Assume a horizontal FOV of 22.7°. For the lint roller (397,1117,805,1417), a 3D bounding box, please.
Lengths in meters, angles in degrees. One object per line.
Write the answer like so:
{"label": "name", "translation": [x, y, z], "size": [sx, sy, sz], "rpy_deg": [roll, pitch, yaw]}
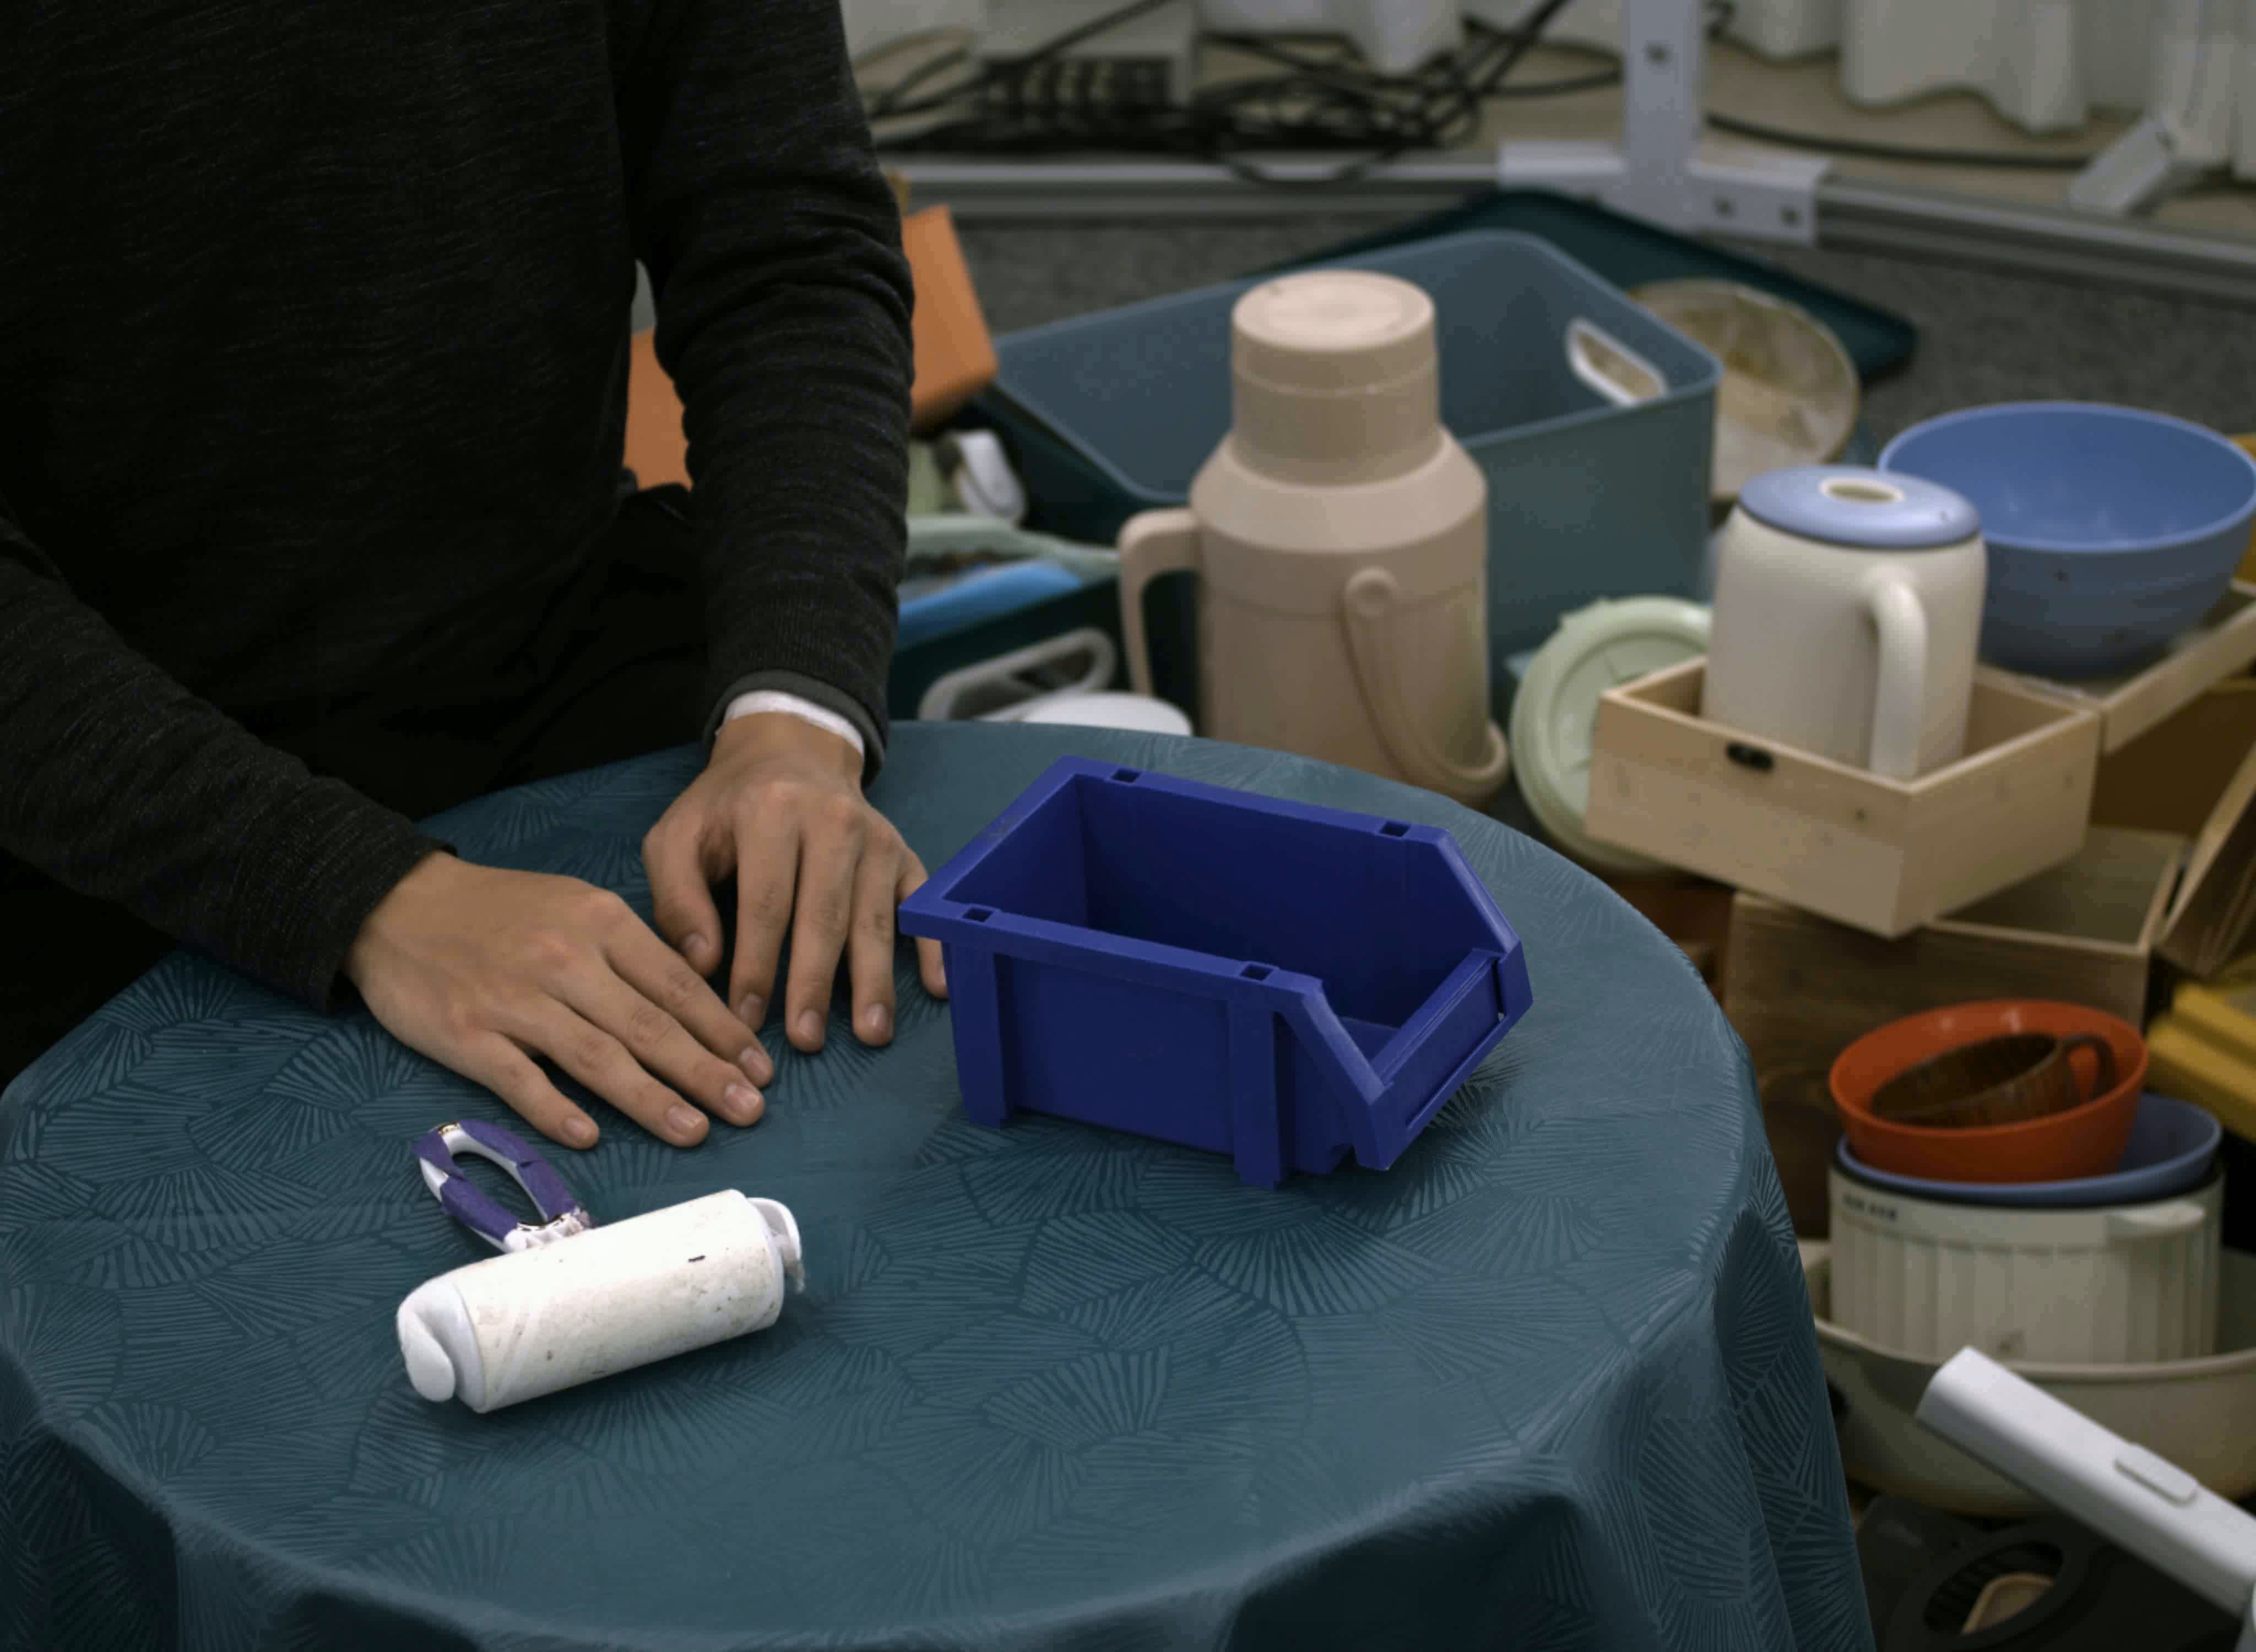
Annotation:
{"label": "lint roller", "translation": [-0.192, 0.124, 1.826], "size": [0.133, 0.049, 0.182], "rpy_deg": [-15, 31, -20]}

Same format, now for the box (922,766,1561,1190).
{"label": "box", "translation": [0.041, 0.052, 1.905], "size": [0.178, 0.081, 0.126], "rpy_deg": [9, 29, 28]}
